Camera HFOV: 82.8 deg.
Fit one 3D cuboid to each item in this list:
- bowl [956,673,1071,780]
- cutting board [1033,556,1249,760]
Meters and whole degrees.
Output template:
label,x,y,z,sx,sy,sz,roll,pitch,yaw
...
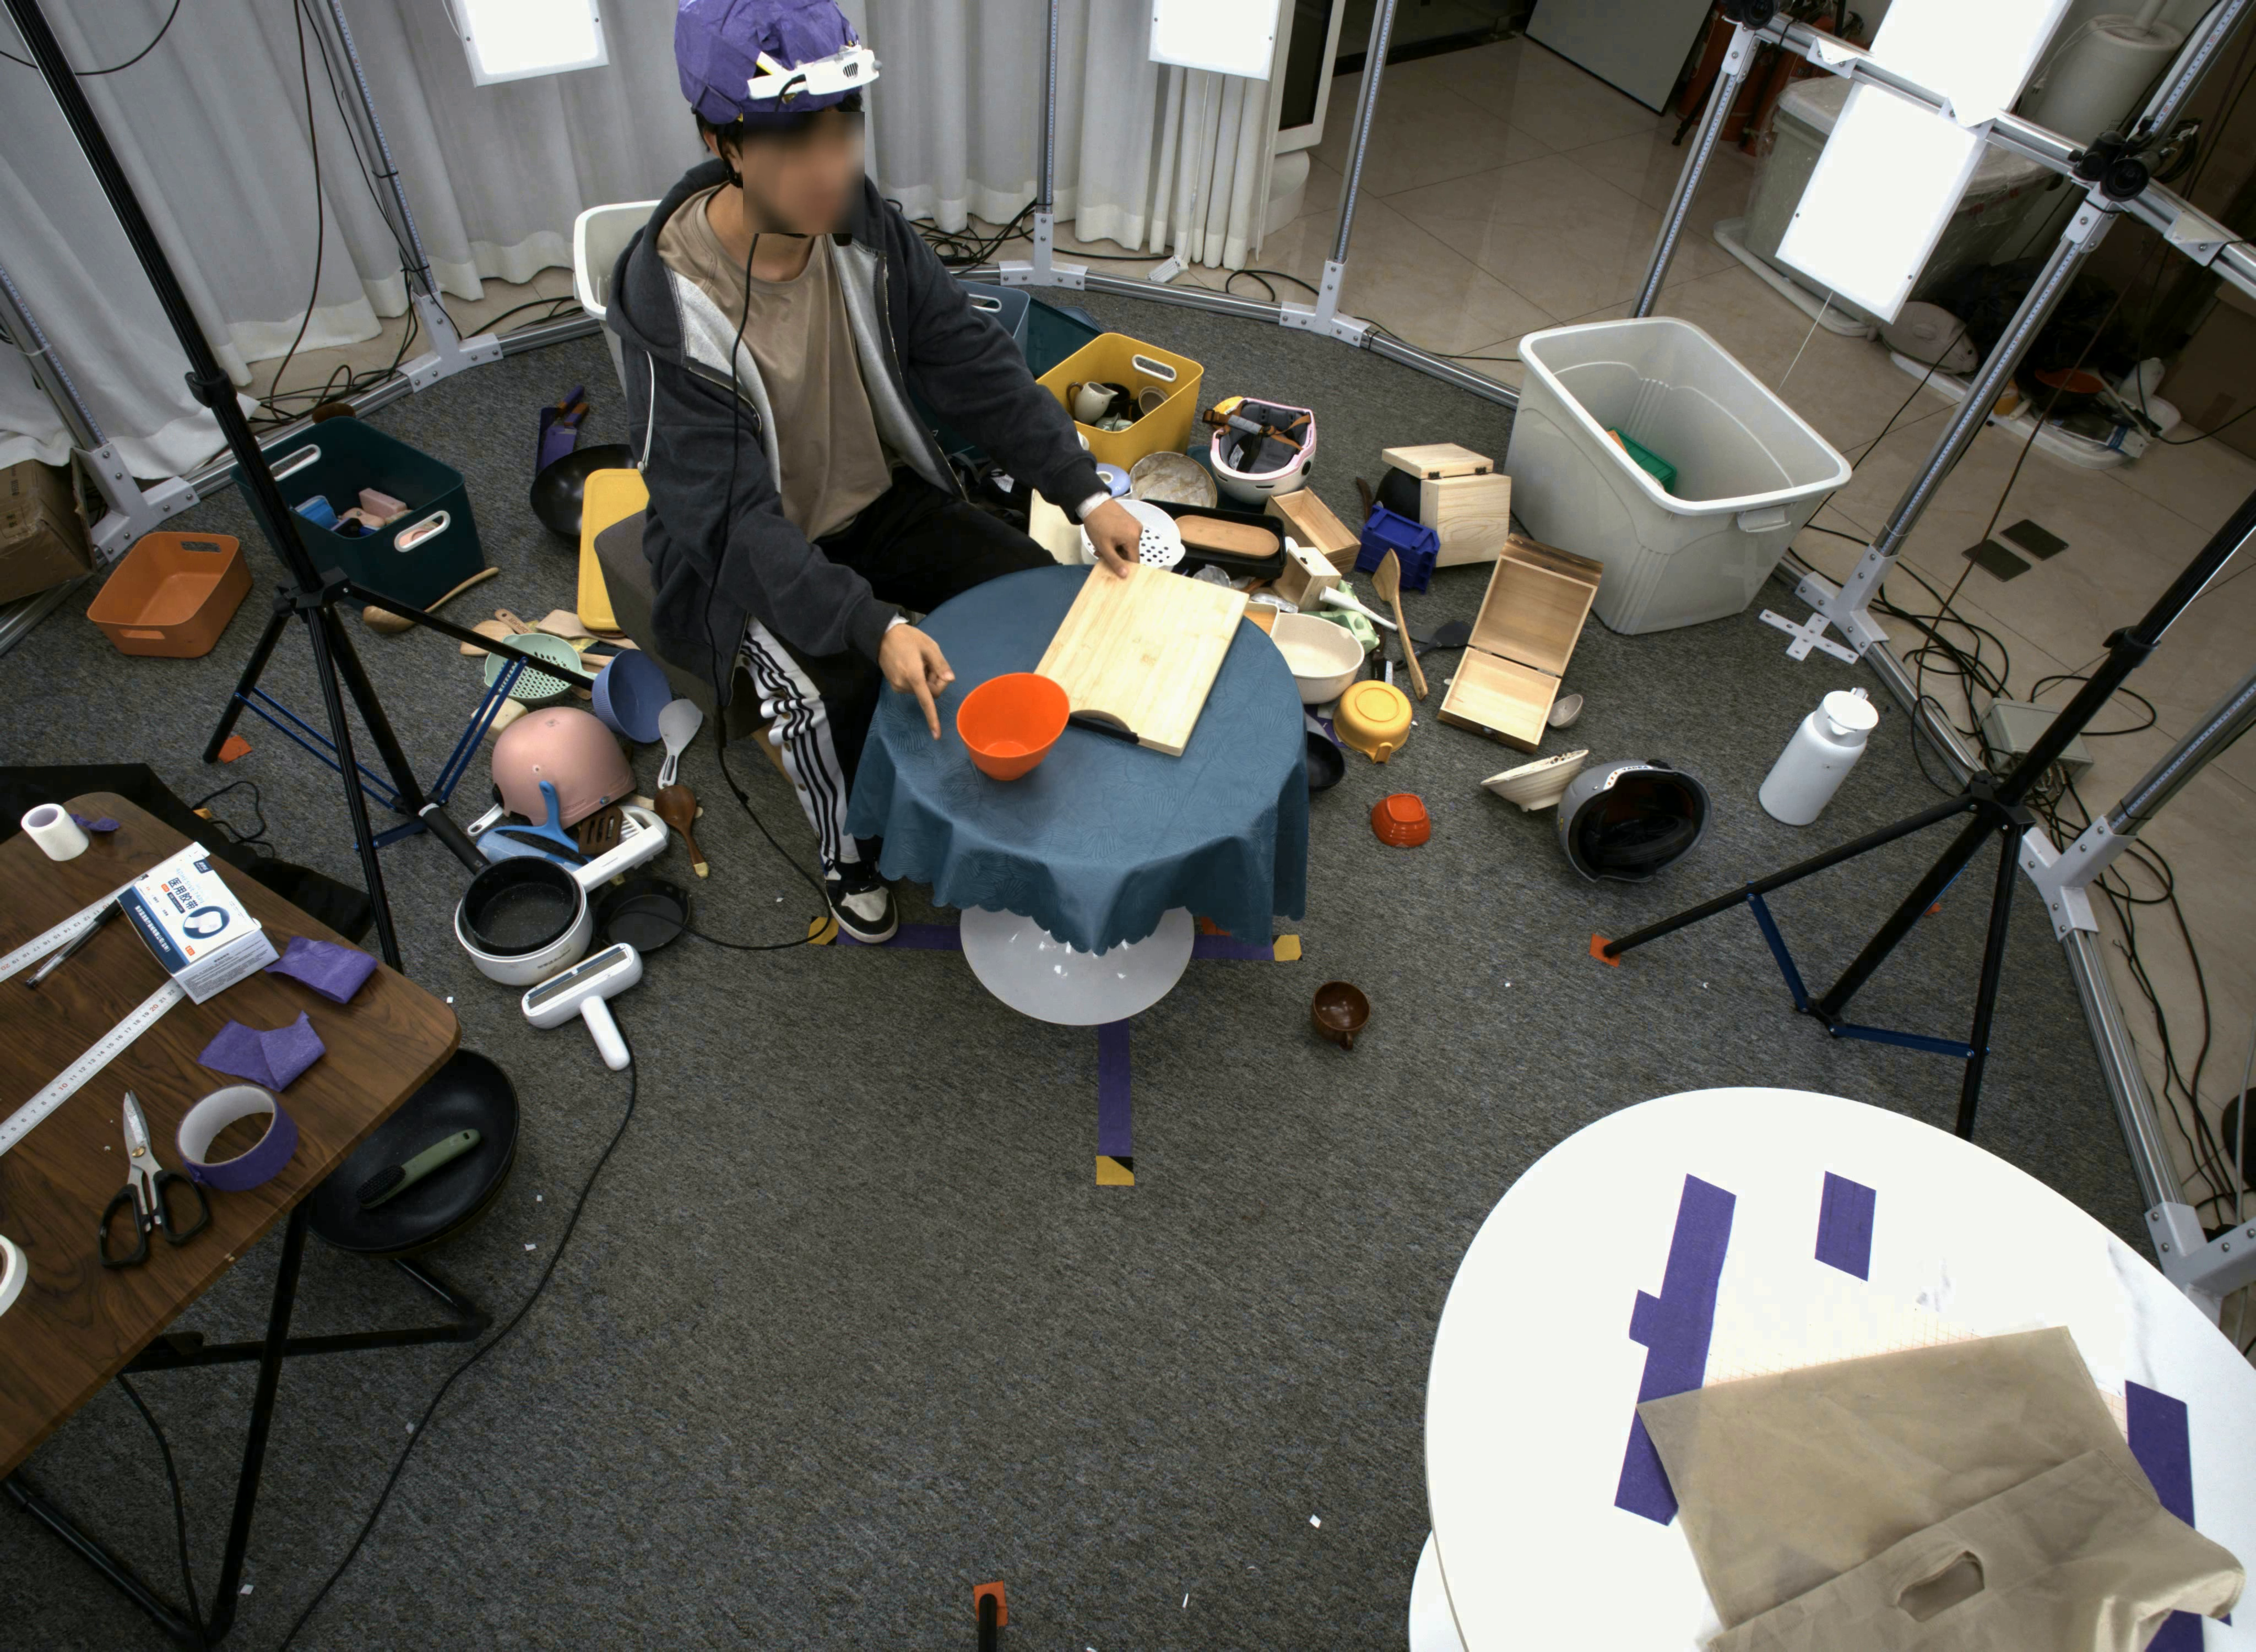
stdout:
label,x,y,z,sx,sy,sz,roll,pitch,yaw
bowl,-0.152,-0.119,1.692,0.148,0.102,0.151,3,51,-4
cutting board,0.013,-0.253,1.872,0.251,0.023,0.356,16,51,11
